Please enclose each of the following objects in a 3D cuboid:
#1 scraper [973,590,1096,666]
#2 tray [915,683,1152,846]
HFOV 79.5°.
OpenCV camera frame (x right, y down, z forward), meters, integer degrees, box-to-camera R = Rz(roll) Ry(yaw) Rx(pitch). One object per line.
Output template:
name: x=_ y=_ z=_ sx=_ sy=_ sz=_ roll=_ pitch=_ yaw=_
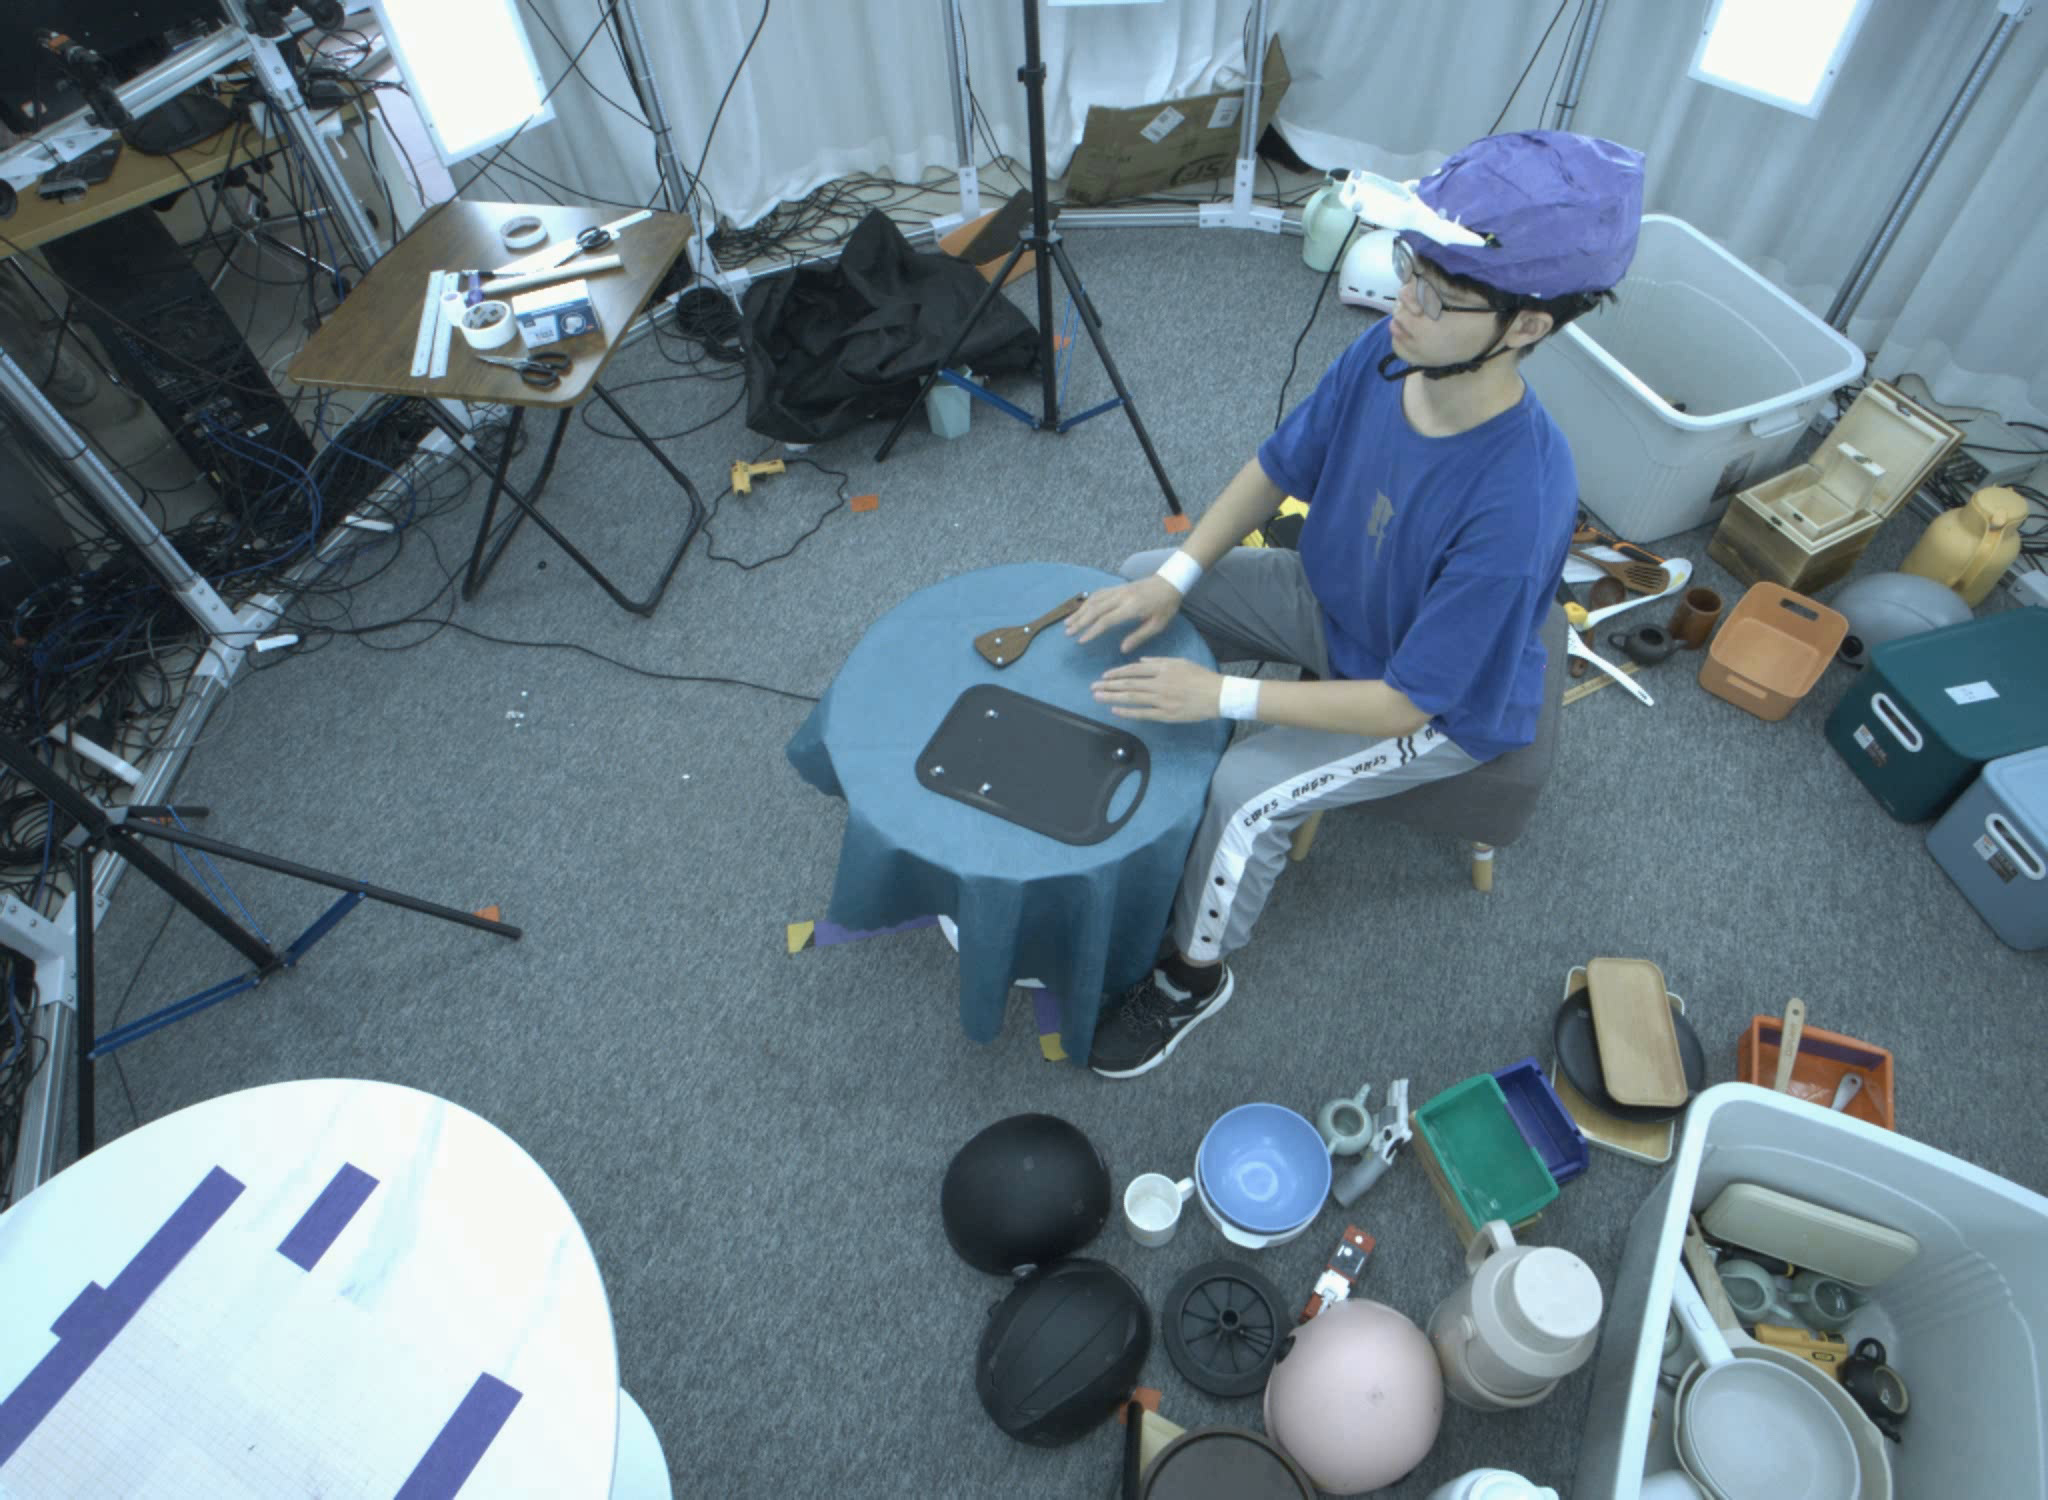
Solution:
scraper: x=0.022 y=-0.196 z=1.912 sx=0.213 sy=0.011 sz=0.074 roll=-31 pitch=59 yaw=-19
tray: x=0.020 y=0.017 z=1.760 sx=0.321 sy=0.010 sz=0.211 roll=21 pitch=58 yaw=16
